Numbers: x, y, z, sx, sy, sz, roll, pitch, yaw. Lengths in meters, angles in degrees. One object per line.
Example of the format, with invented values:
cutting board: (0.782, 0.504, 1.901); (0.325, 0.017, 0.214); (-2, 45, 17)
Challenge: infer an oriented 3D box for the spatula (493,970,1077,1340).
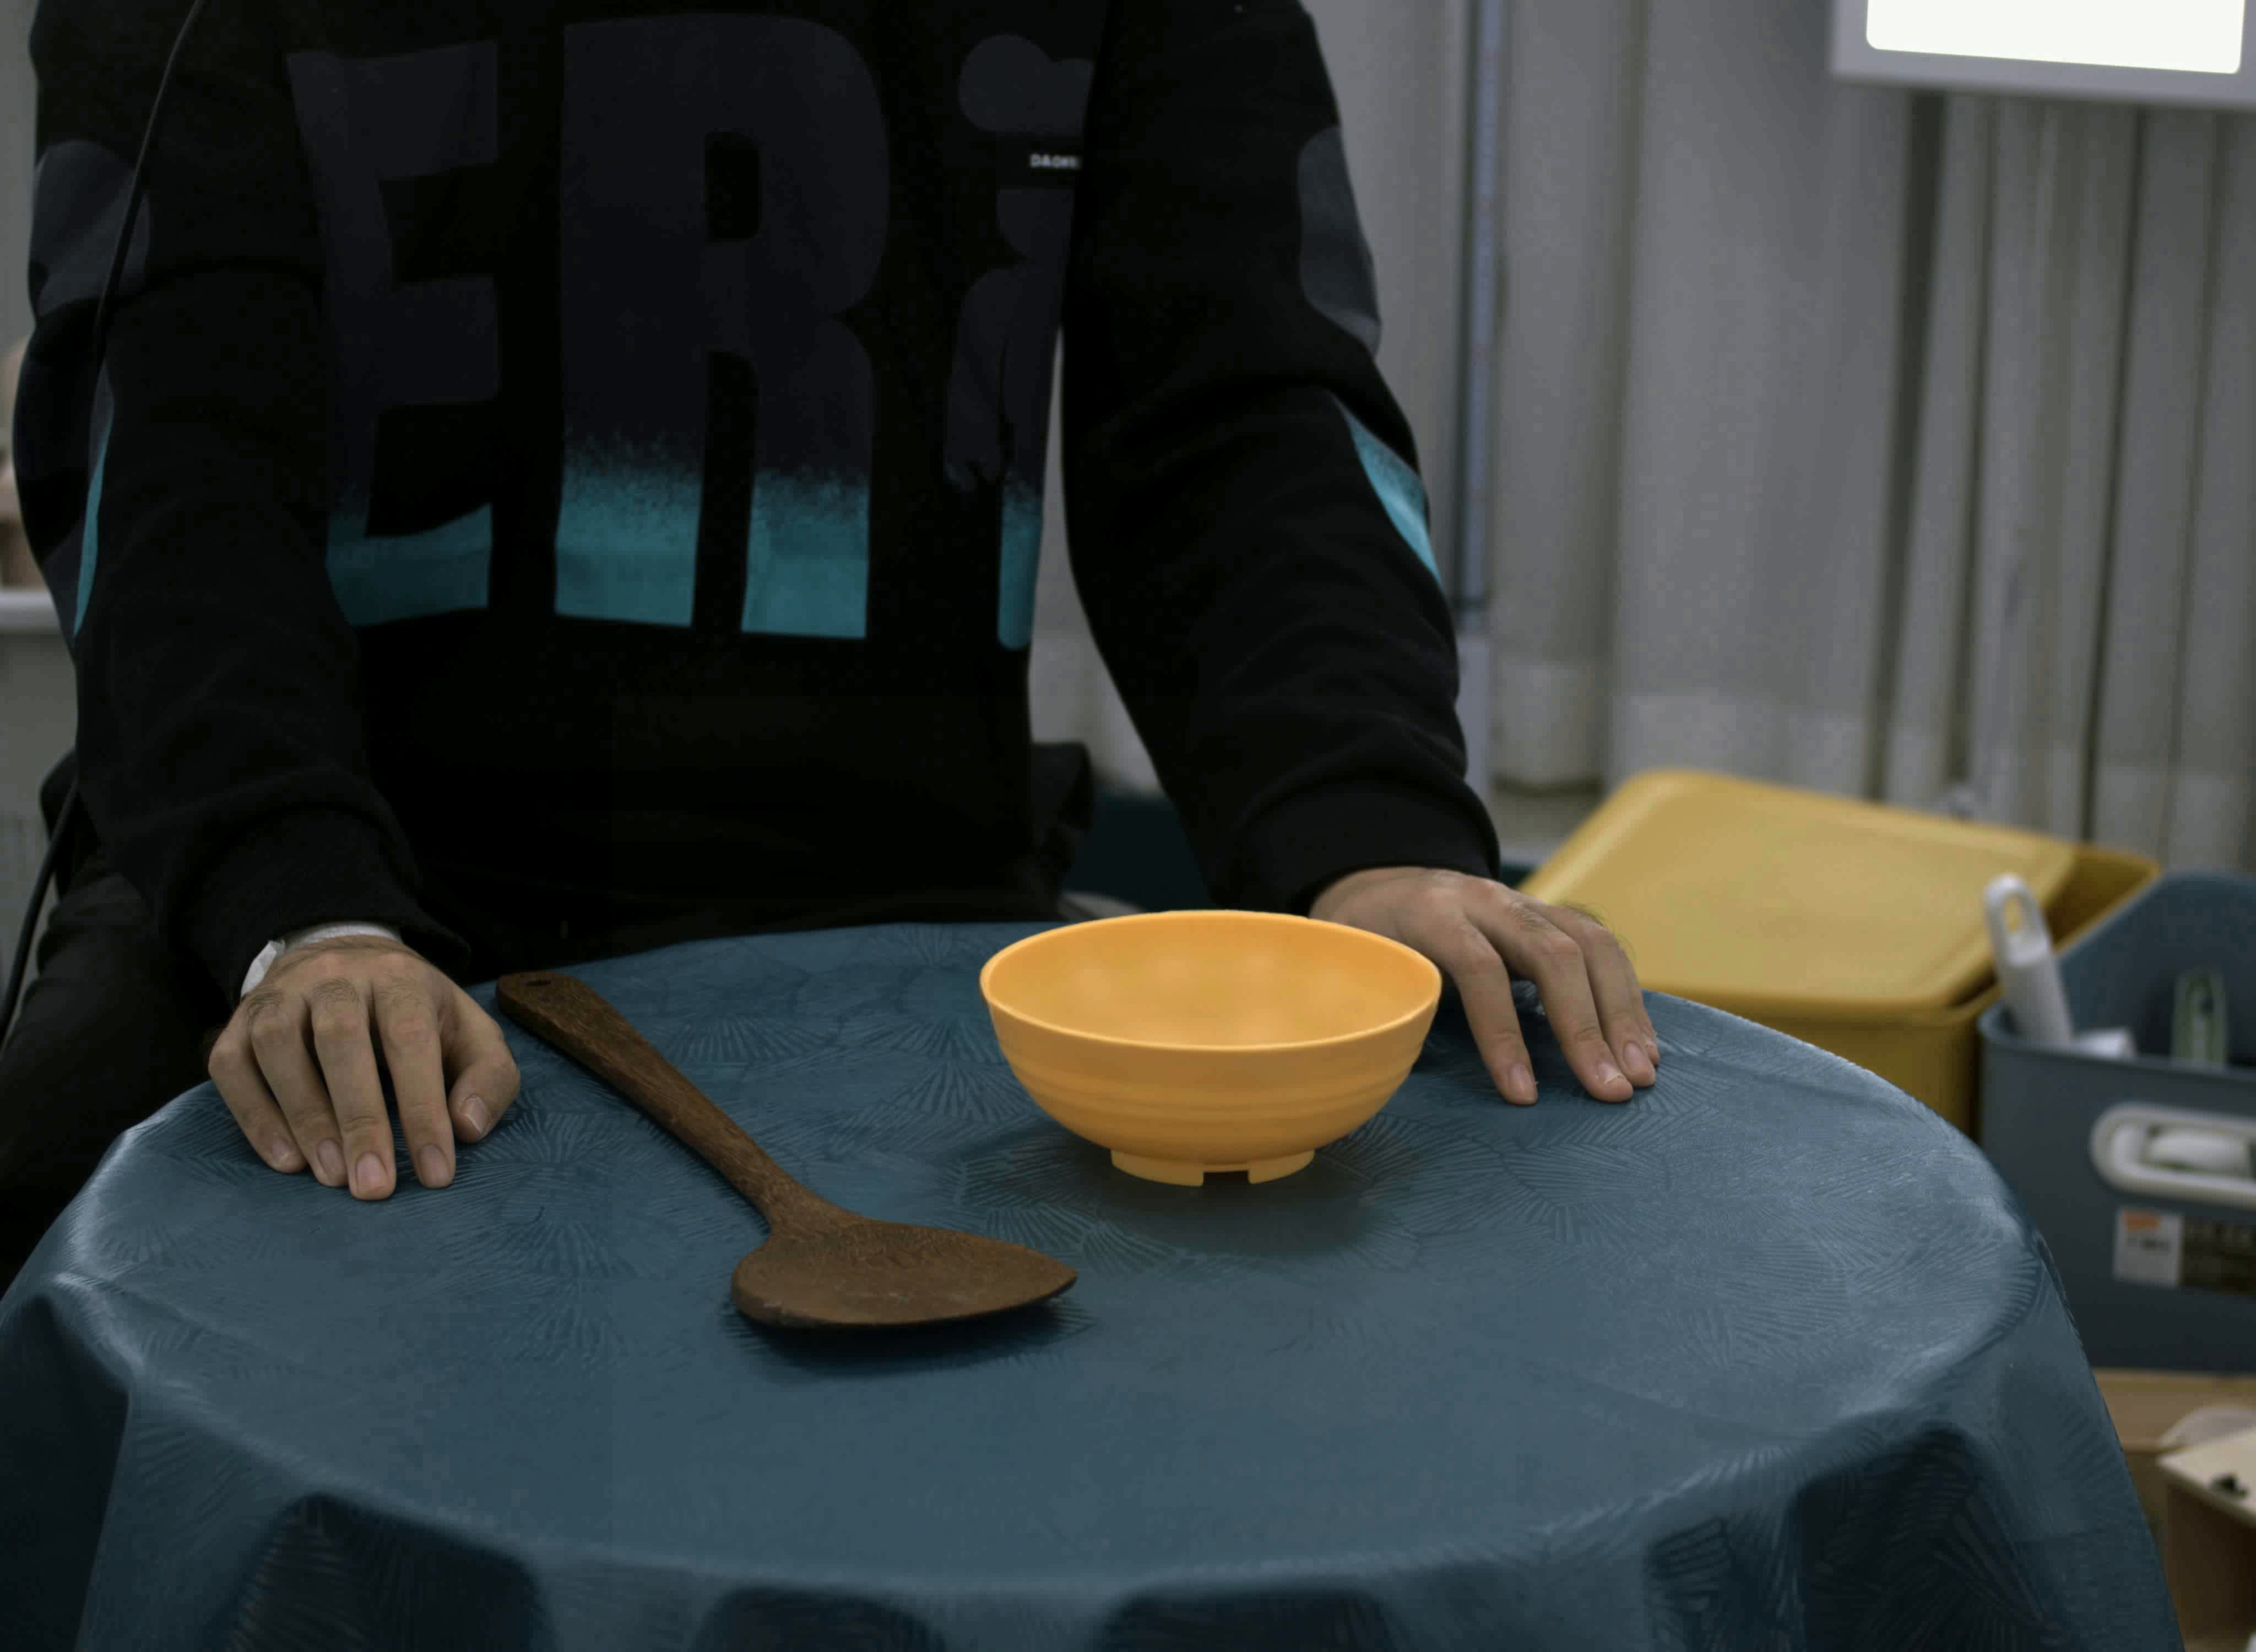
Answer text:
spatula: (-0.130, 0.097, 1.651); (0.096, 0.016, 0.381); (-6, 17, -24)

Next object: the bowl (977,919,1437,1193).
bowl: (0.024, 0.077, 1.653); (0.145, 0.060, 0.144); (3, 14, 0)
